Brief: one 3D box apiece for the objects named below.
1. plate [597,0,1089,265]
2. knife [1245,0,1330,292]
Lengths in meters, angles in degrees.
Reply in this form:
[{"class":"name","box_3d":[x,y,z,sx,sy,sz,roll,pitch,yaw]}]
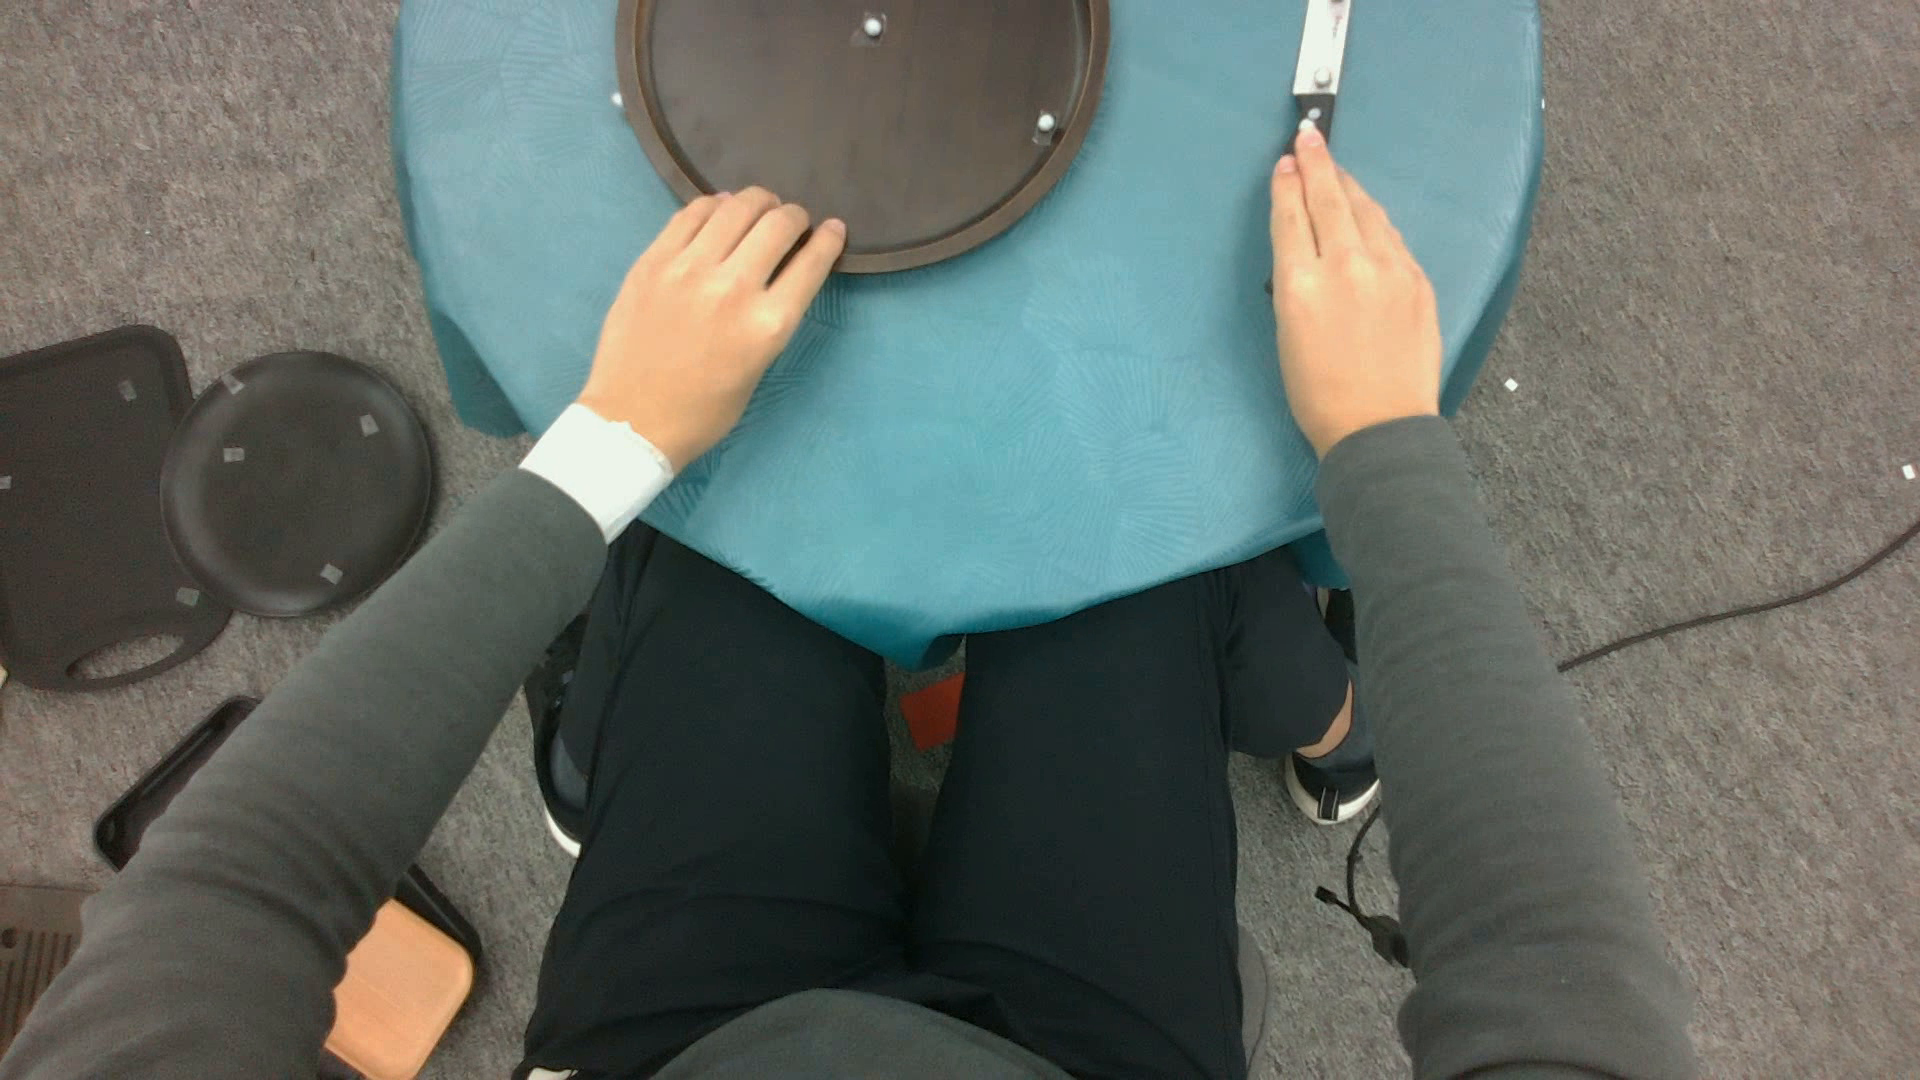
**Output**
[{"class":"plate","box_3d":[-0.060,-0.263,0.713,0.255,0.029,0.255,0,81,0]},{"class":"knife","box_3d":[0.176,-0.240,0.715,0.024,0.016,0.238,7,78,22]}]
